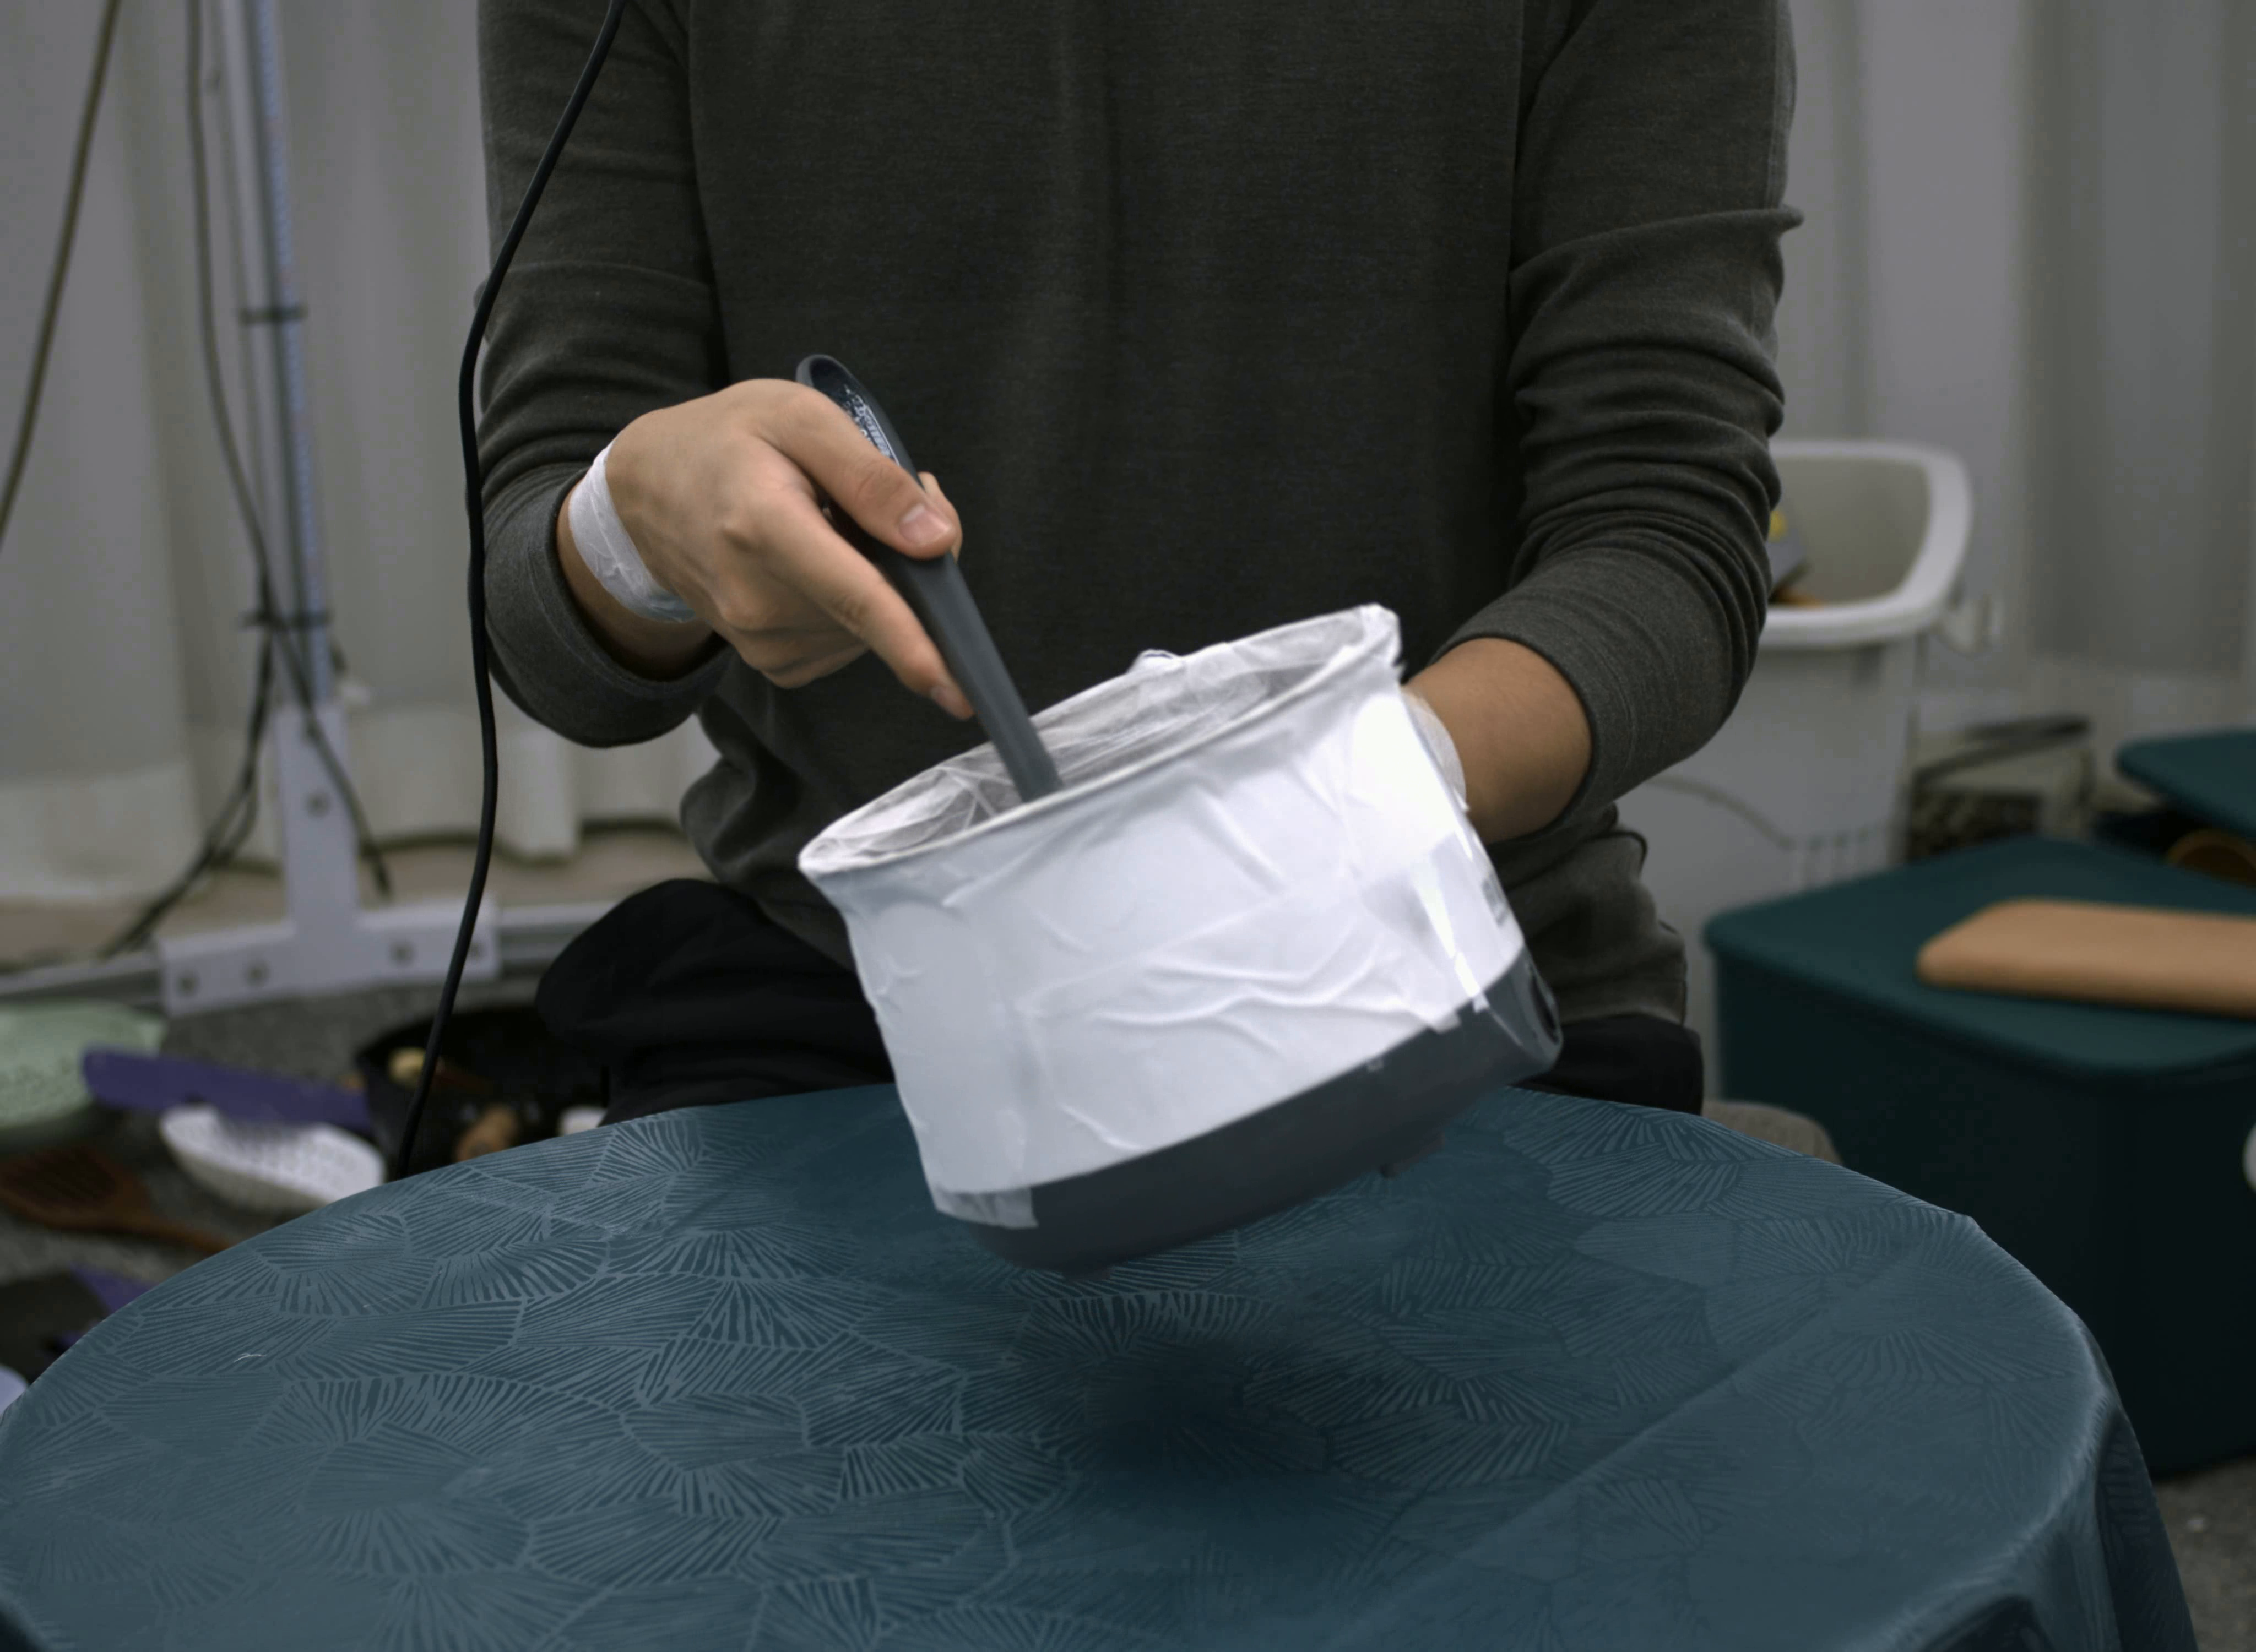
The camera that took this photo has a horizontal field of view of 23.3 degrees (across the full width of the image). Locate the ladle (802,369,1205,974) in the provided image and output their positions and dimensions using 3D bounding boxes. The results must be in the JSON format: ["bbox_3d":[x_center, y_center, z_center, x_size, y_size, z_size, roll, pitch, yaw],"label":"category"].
[{"bbox_3d":[-0.042,-0.056,1.554,0.086,0.063,0.319,-10,42,-17],"label":"ladle"}]

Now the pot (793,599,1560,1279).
[{"bbox_3d":[0.018,0.026,1.527,0.178,0.136,0.234,-21,8,12],"label":"pot"}]
